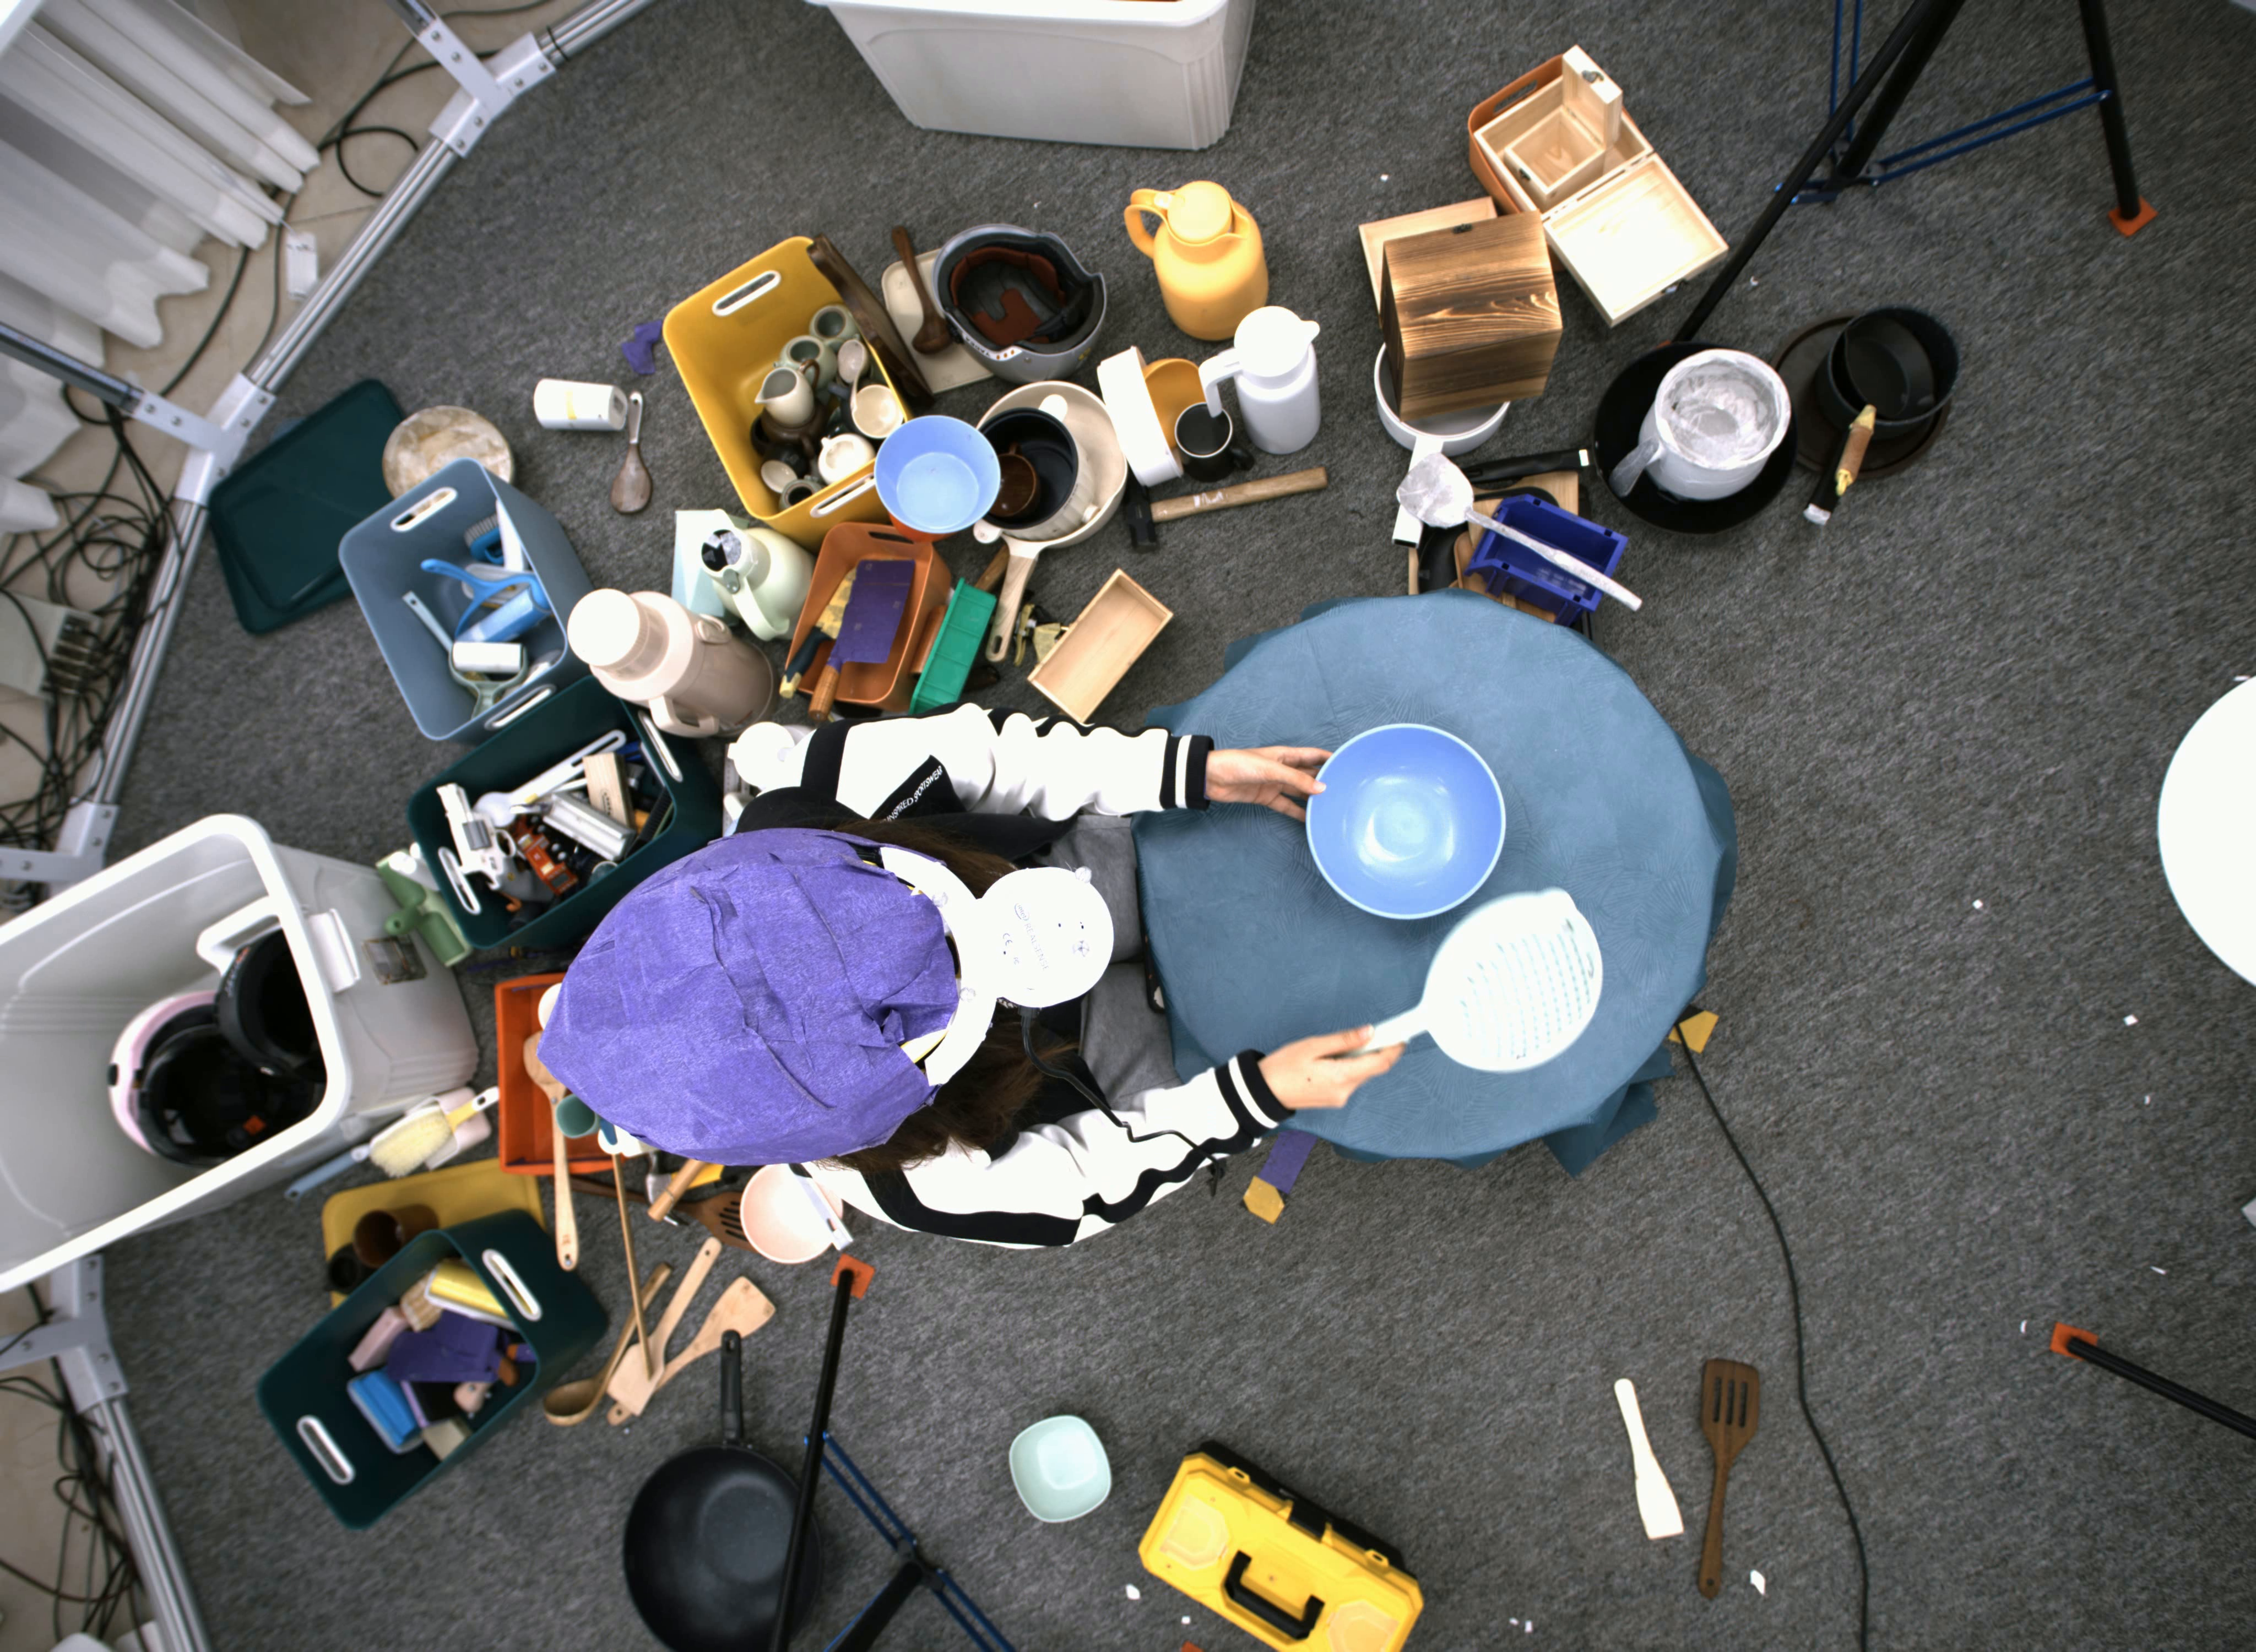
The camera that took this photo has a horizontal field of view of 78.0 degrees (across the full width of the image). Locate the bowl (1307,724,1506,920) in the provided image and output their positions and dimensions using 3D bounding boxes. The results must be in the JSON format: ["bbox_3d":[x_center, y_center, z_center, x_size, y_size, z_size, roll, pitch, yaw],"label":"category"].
[{"bbox_3d":[0.284,-0.002,1.414,0.197,0.095,0.196,-1,87,10],"label":"bowl"}]

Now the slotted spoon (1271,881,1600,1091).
[{"bbox_3d":[0.272,0.177,1.284,0.364,0.076,0.165,-24,47,27],"label":"slotted spoon"}]
